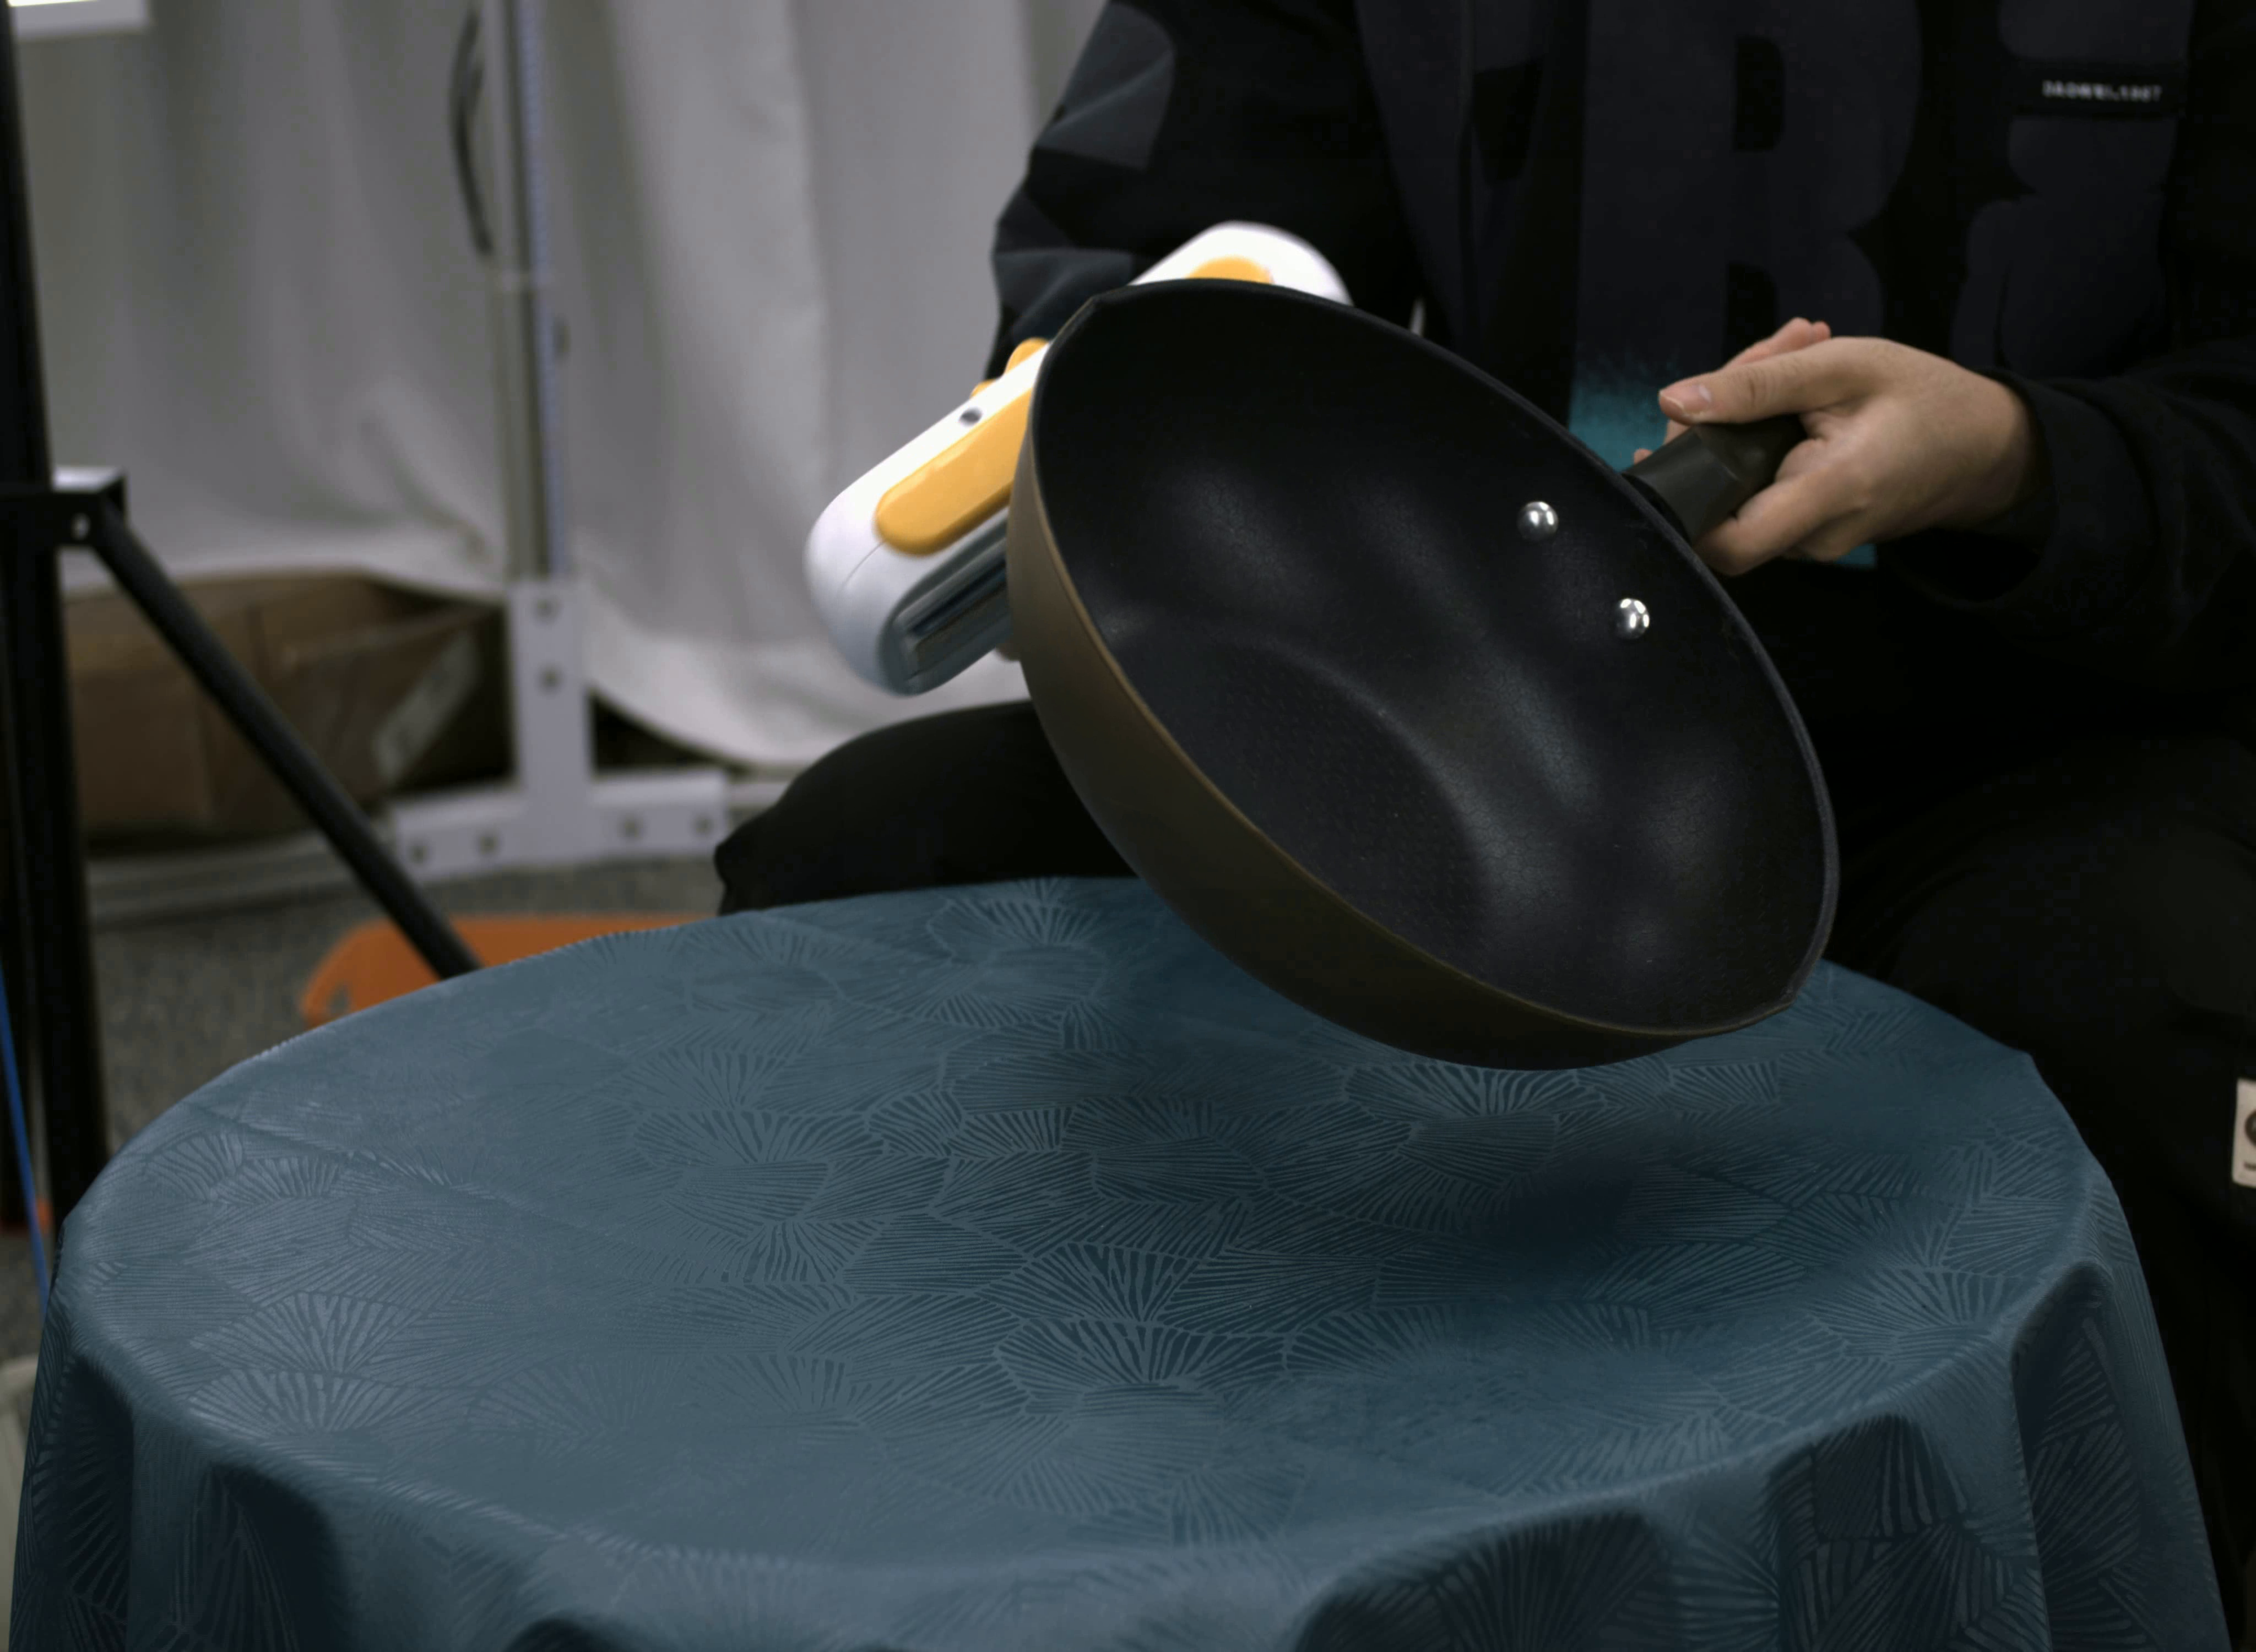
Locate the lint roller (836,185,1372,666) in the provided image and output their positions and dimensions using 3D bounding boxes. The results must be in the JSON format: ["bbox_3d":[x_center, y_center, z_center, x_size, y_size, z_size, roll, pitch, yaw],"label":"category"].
[{"bbox_3d":[-0.013,-0.101,1.684,0.191,0.191,0.075,-41,71,-18],"label":"lint roller"}]

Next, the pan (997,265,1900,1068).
[{"bbox_3d":[0.113,-0.060,1.613,0.290,0.087,0.456,46,35,9],"label":"pan"}]
